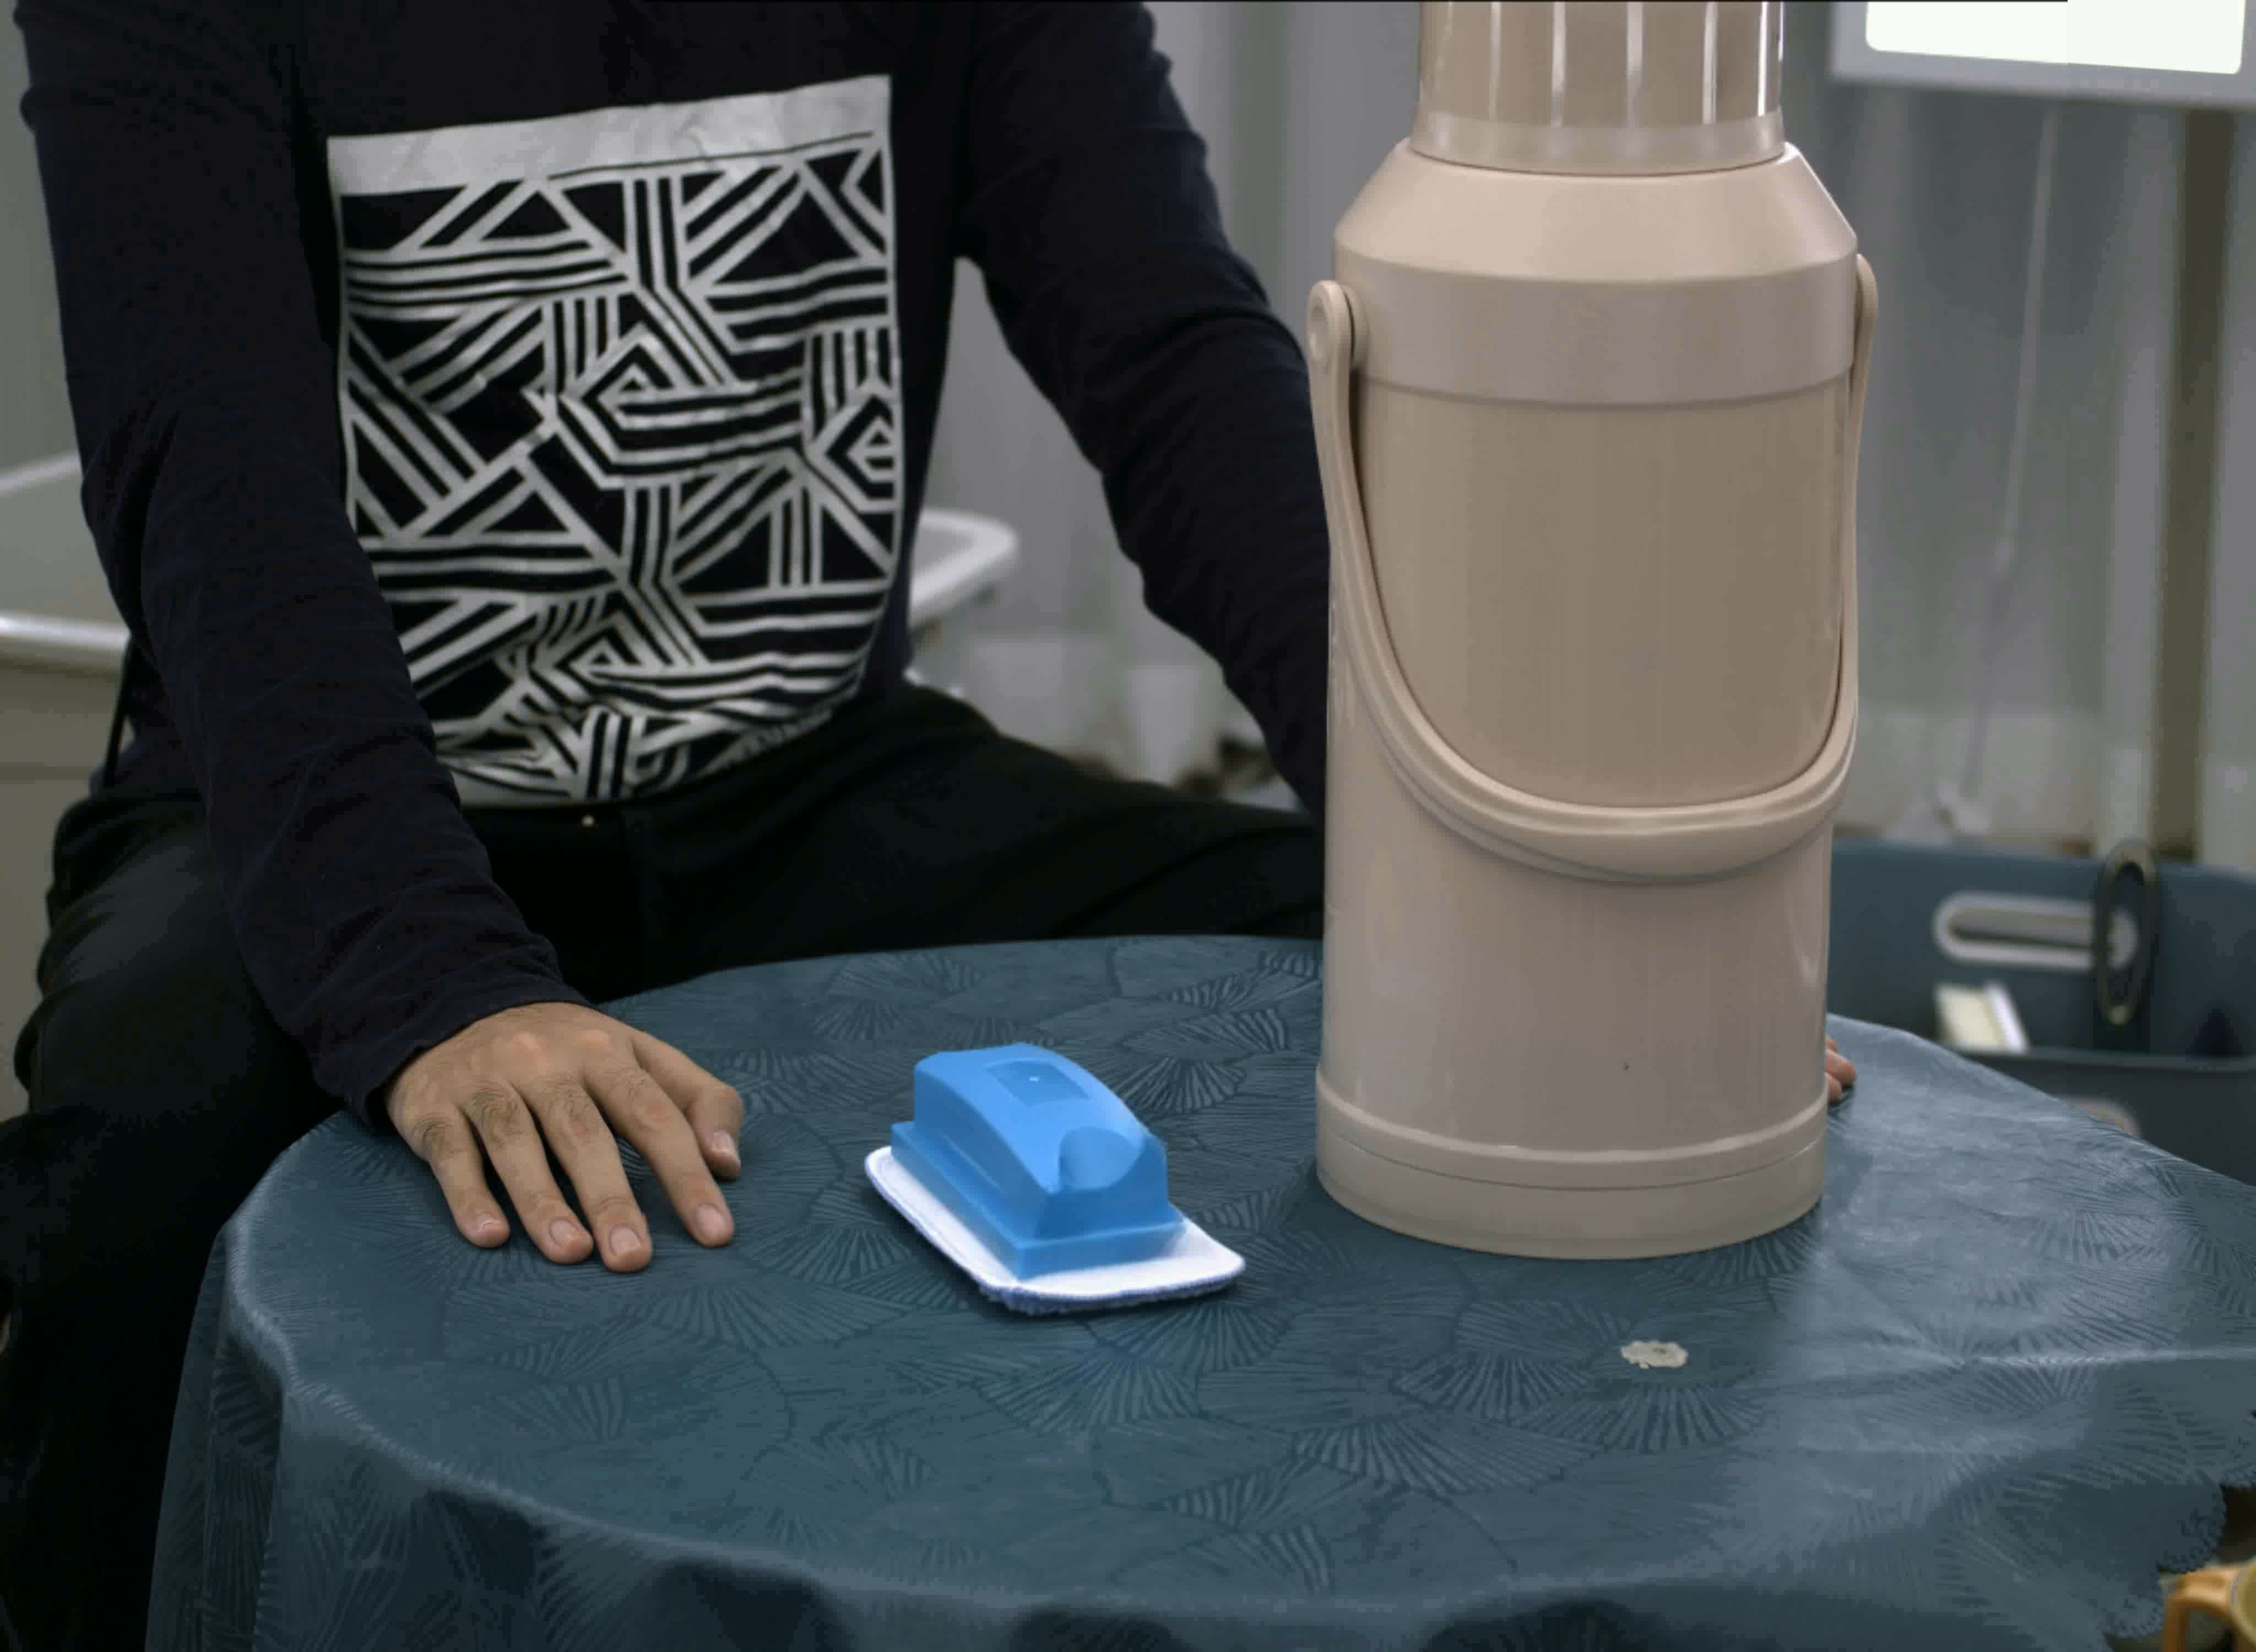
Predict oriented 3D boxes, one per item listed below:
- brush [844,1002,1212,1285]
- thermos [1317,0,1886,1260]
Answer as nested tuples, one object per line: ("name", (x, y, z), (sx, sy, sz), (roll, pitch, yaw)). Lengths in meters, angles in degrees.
("brush", (-0.029, 0.092, 1.579), (0.084, 0.056, 0.142), (-1, 19, -20))
("thermos", (0.139, -0.086, 1.601), (0.175, 0.410, 0.205), (-7, 17, -18))
